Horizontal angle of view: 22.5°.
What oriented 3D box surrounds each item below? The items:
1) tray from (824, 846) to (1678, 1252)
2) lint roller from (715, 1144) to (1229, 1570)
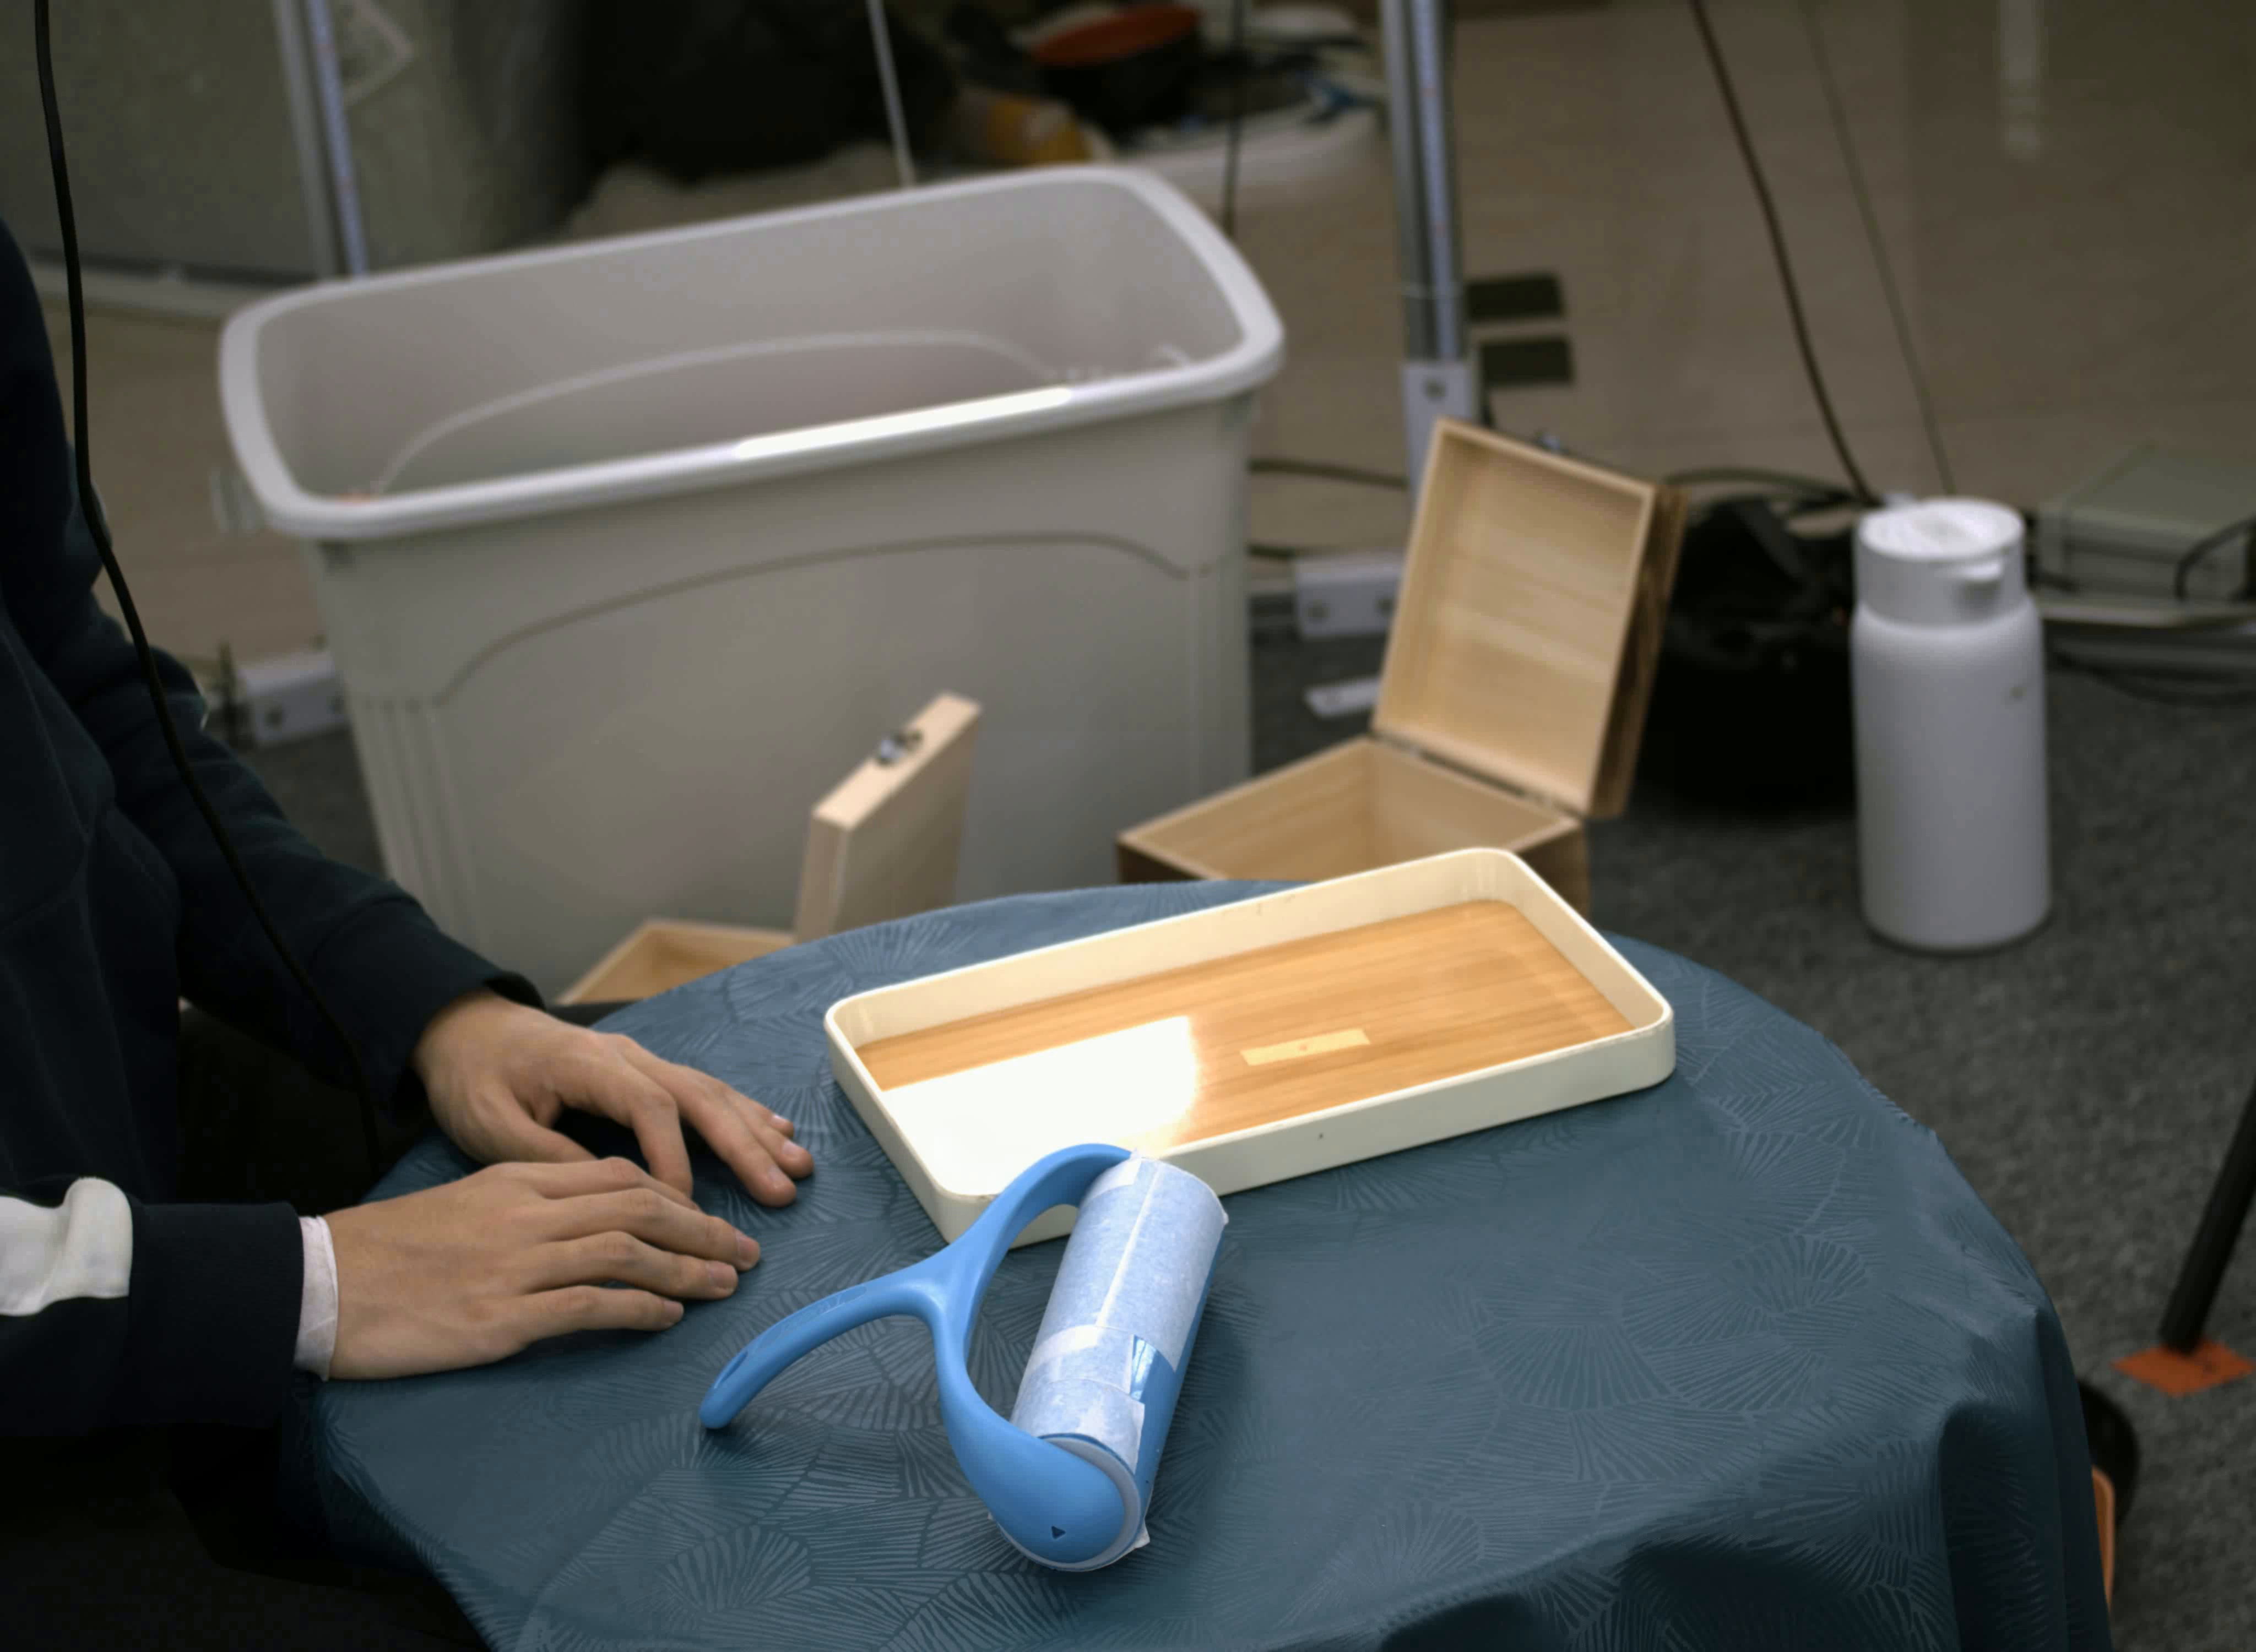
[{"bbox_3d":[0.046,0.084,2.218,0.299,0.028,0.189,-13,26,-14],"label":"tray"},{"bbox_3d":[-0.061,0.187,1.990,0.180,0.069,0.225,-3,27,7],"label":"lint roller"}]
